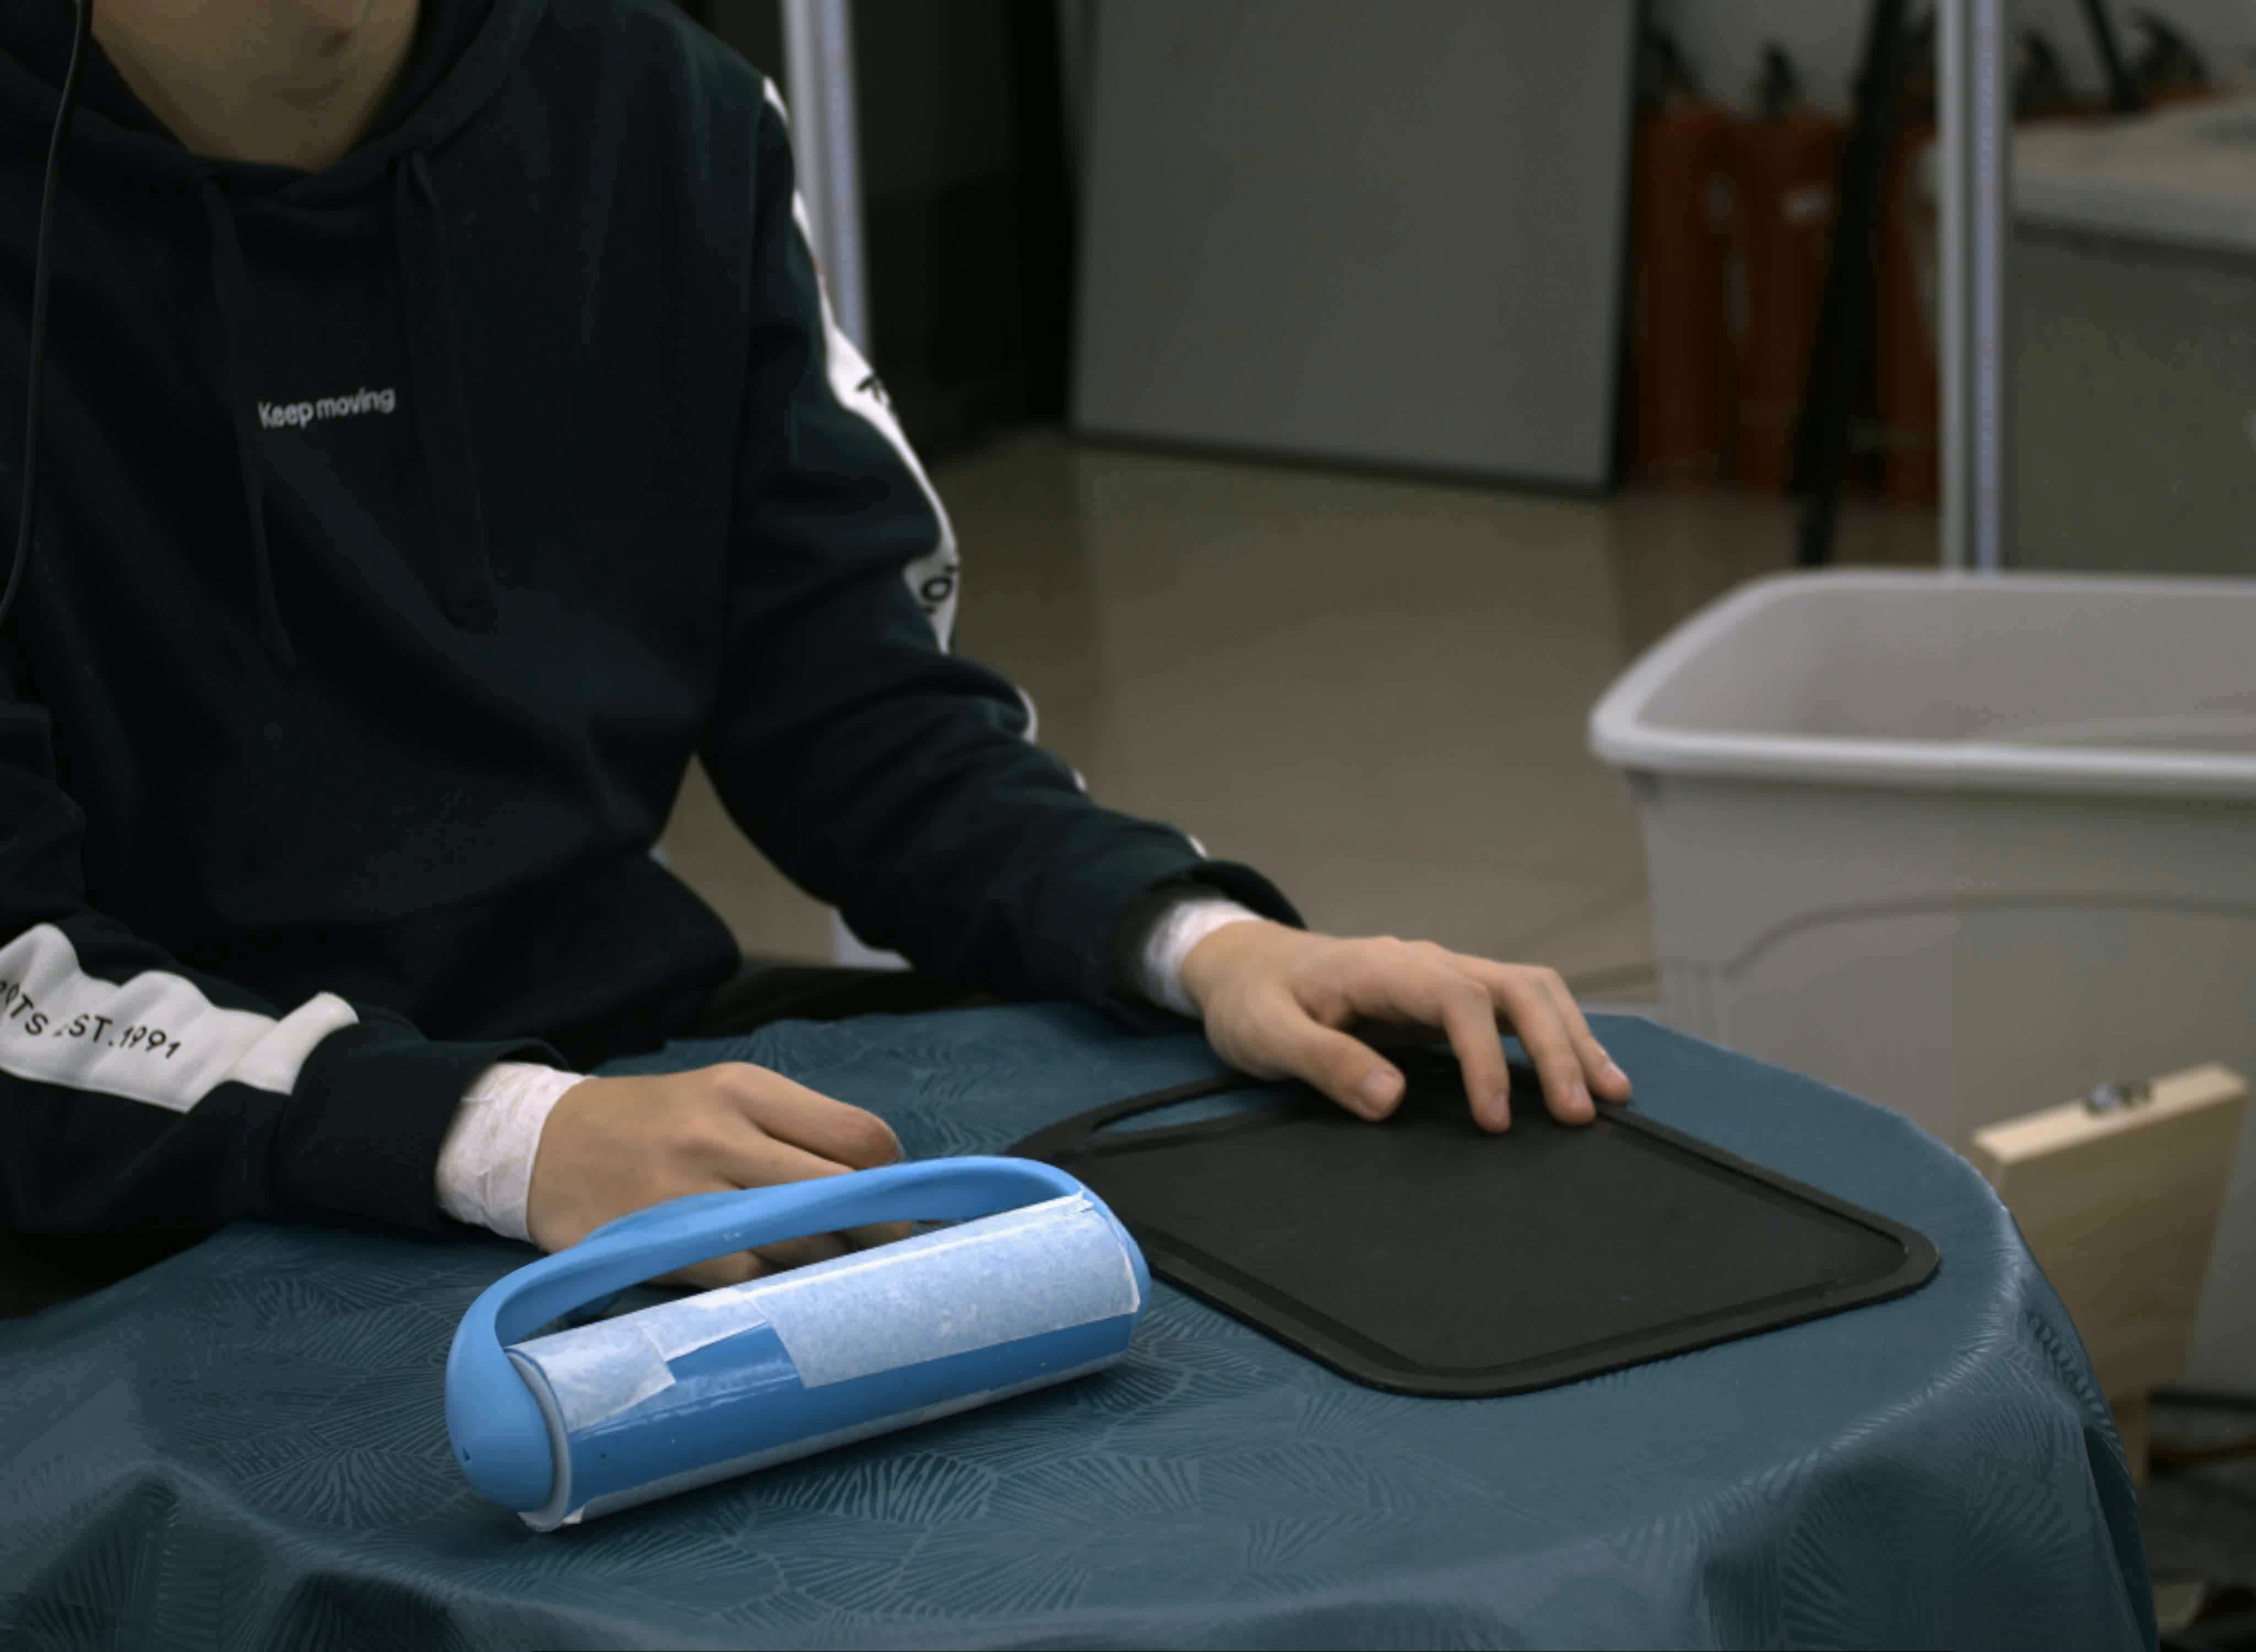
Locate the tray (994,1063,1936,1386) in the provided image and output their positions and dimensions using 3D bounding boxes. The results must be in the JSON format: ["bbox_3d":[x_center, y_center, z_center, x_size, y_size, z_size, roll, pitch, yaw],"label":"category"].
[{"bbox_3d":[0.097,0.121,1.729,0.206,0.010,0.329,-11,15,-26],"label":"tray"}]

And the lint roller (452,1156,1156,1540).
[{"bbox_3d":[-0.123,0.142,1.602,0.224,0.068,0.182,-16,19,-33],"label":"lint roller"}]
